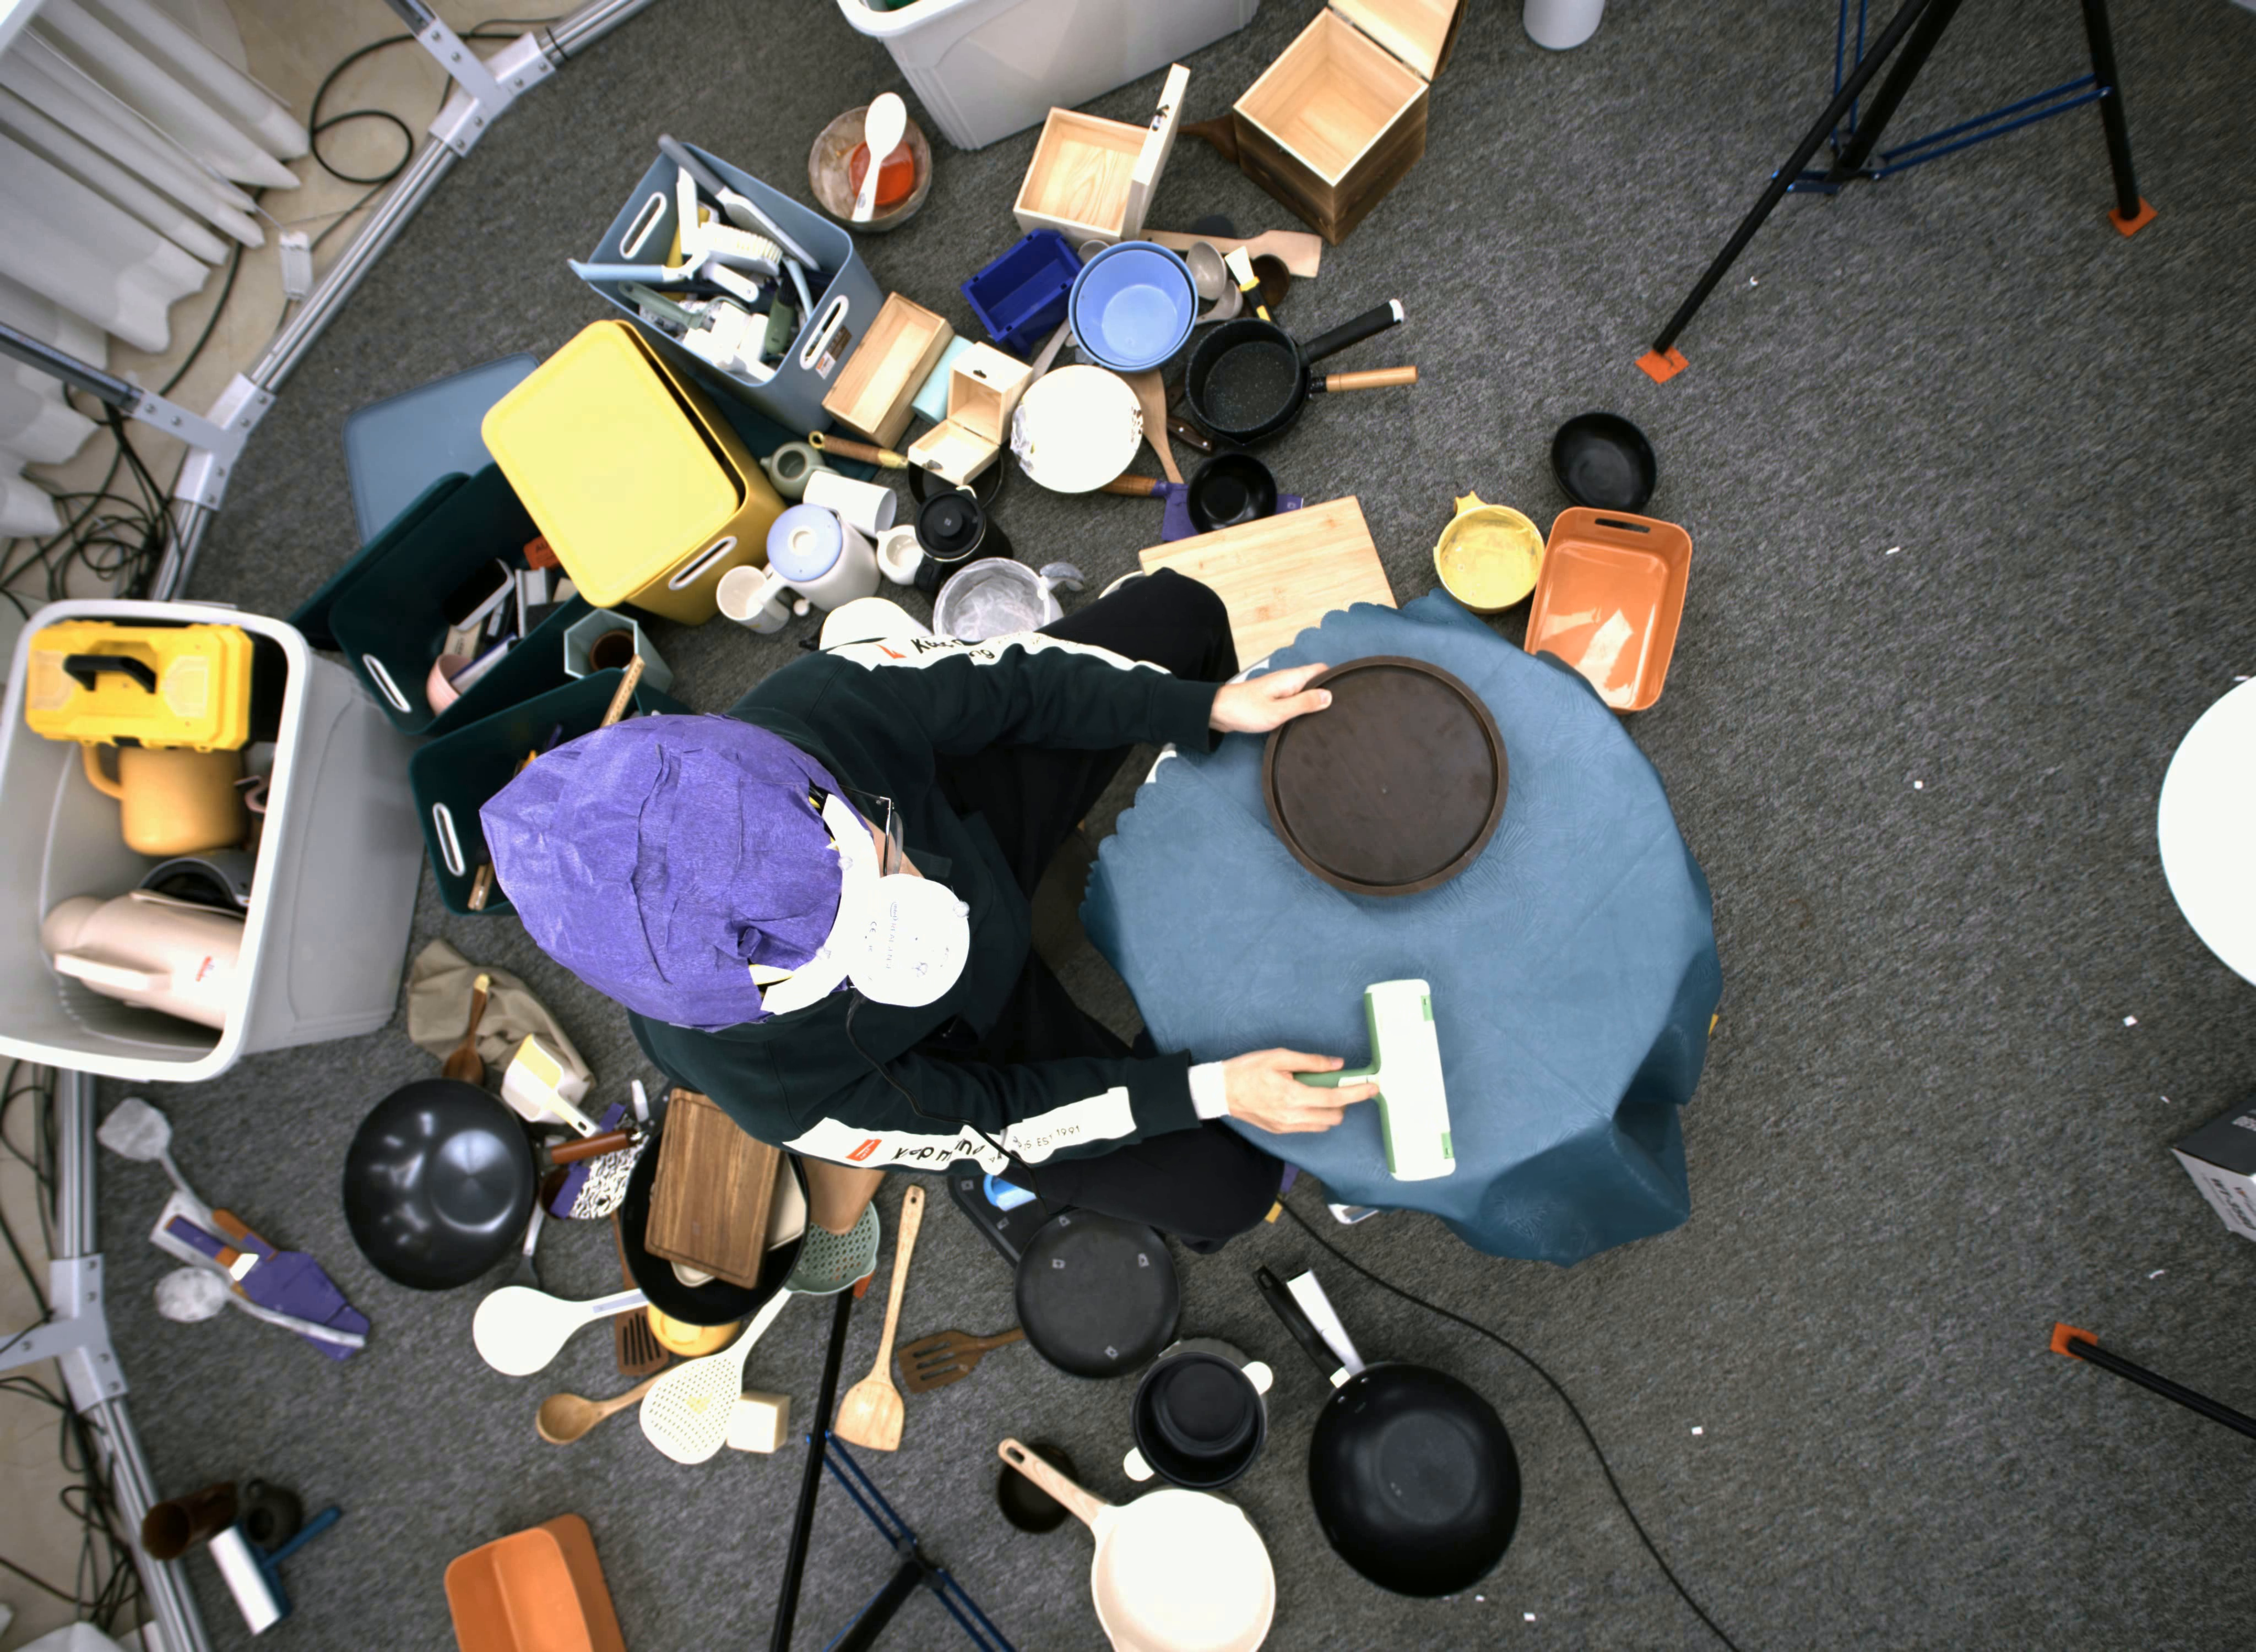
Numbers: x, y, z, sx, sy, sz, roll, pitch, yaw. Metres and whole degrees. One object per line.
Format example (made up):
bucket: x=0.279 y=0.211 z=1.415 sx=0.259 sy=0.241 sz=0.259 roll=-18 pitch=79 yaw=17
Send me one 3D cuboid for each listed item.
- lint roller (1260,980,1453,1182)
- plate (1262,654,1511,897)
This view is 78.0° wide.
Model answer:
lint roller: x=0.221 y=0.260 z=1.387 sx=0.184 sy=0.082 sz=0.197 roll=-8 pitch=85 yaw=9
plate: x=0.265 y=-0.054 z=1.422 sx=0.256 sy=0.029 sz=0.254 roll=-1 pitch=88 yaw=9
